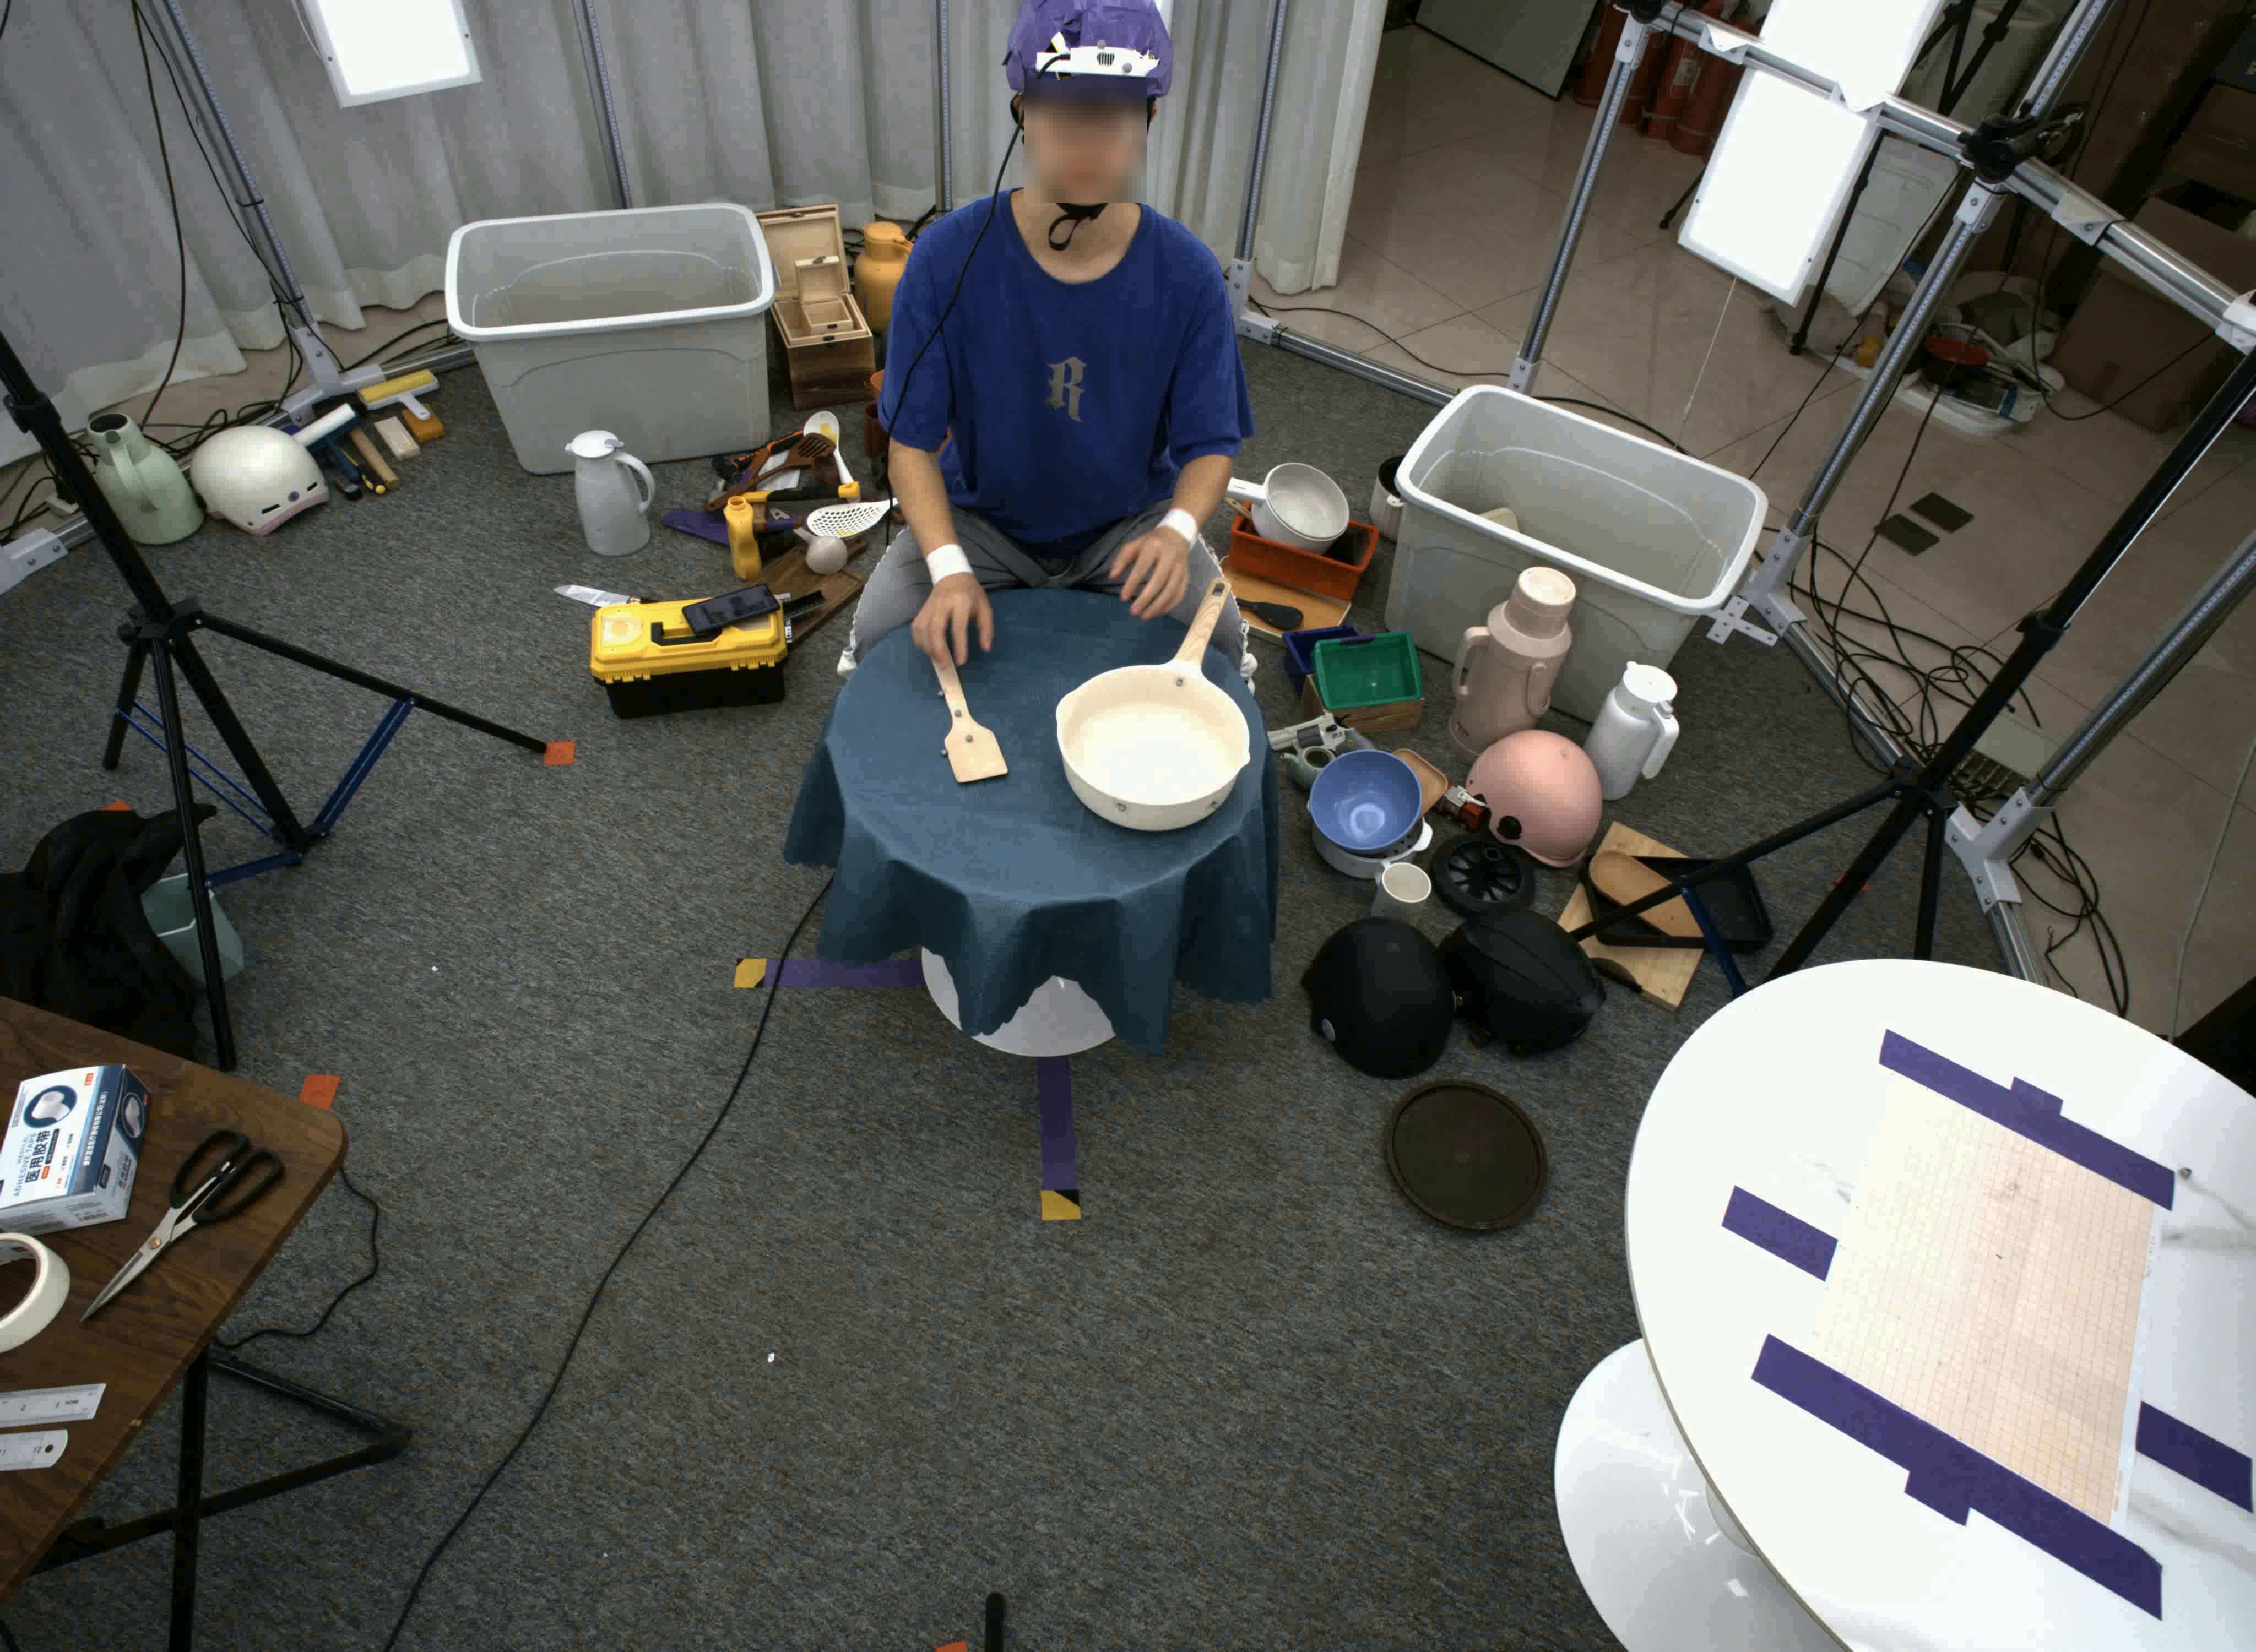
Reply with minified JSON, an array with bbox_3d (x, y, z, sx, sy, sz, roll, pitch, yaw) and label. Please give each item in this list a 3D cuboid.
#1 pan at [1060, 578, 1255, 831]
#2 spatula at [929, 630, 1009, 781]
[{"bbox_3d":[0.066,-0.169,1.759,0.264,0.099,0.444,15,50,11],"label":"pan"},{"bbox_3d":[-0.237,-0.174,1.802,0.072,0.010,0.300,-13,52,-12],"label":"spatula"}]
